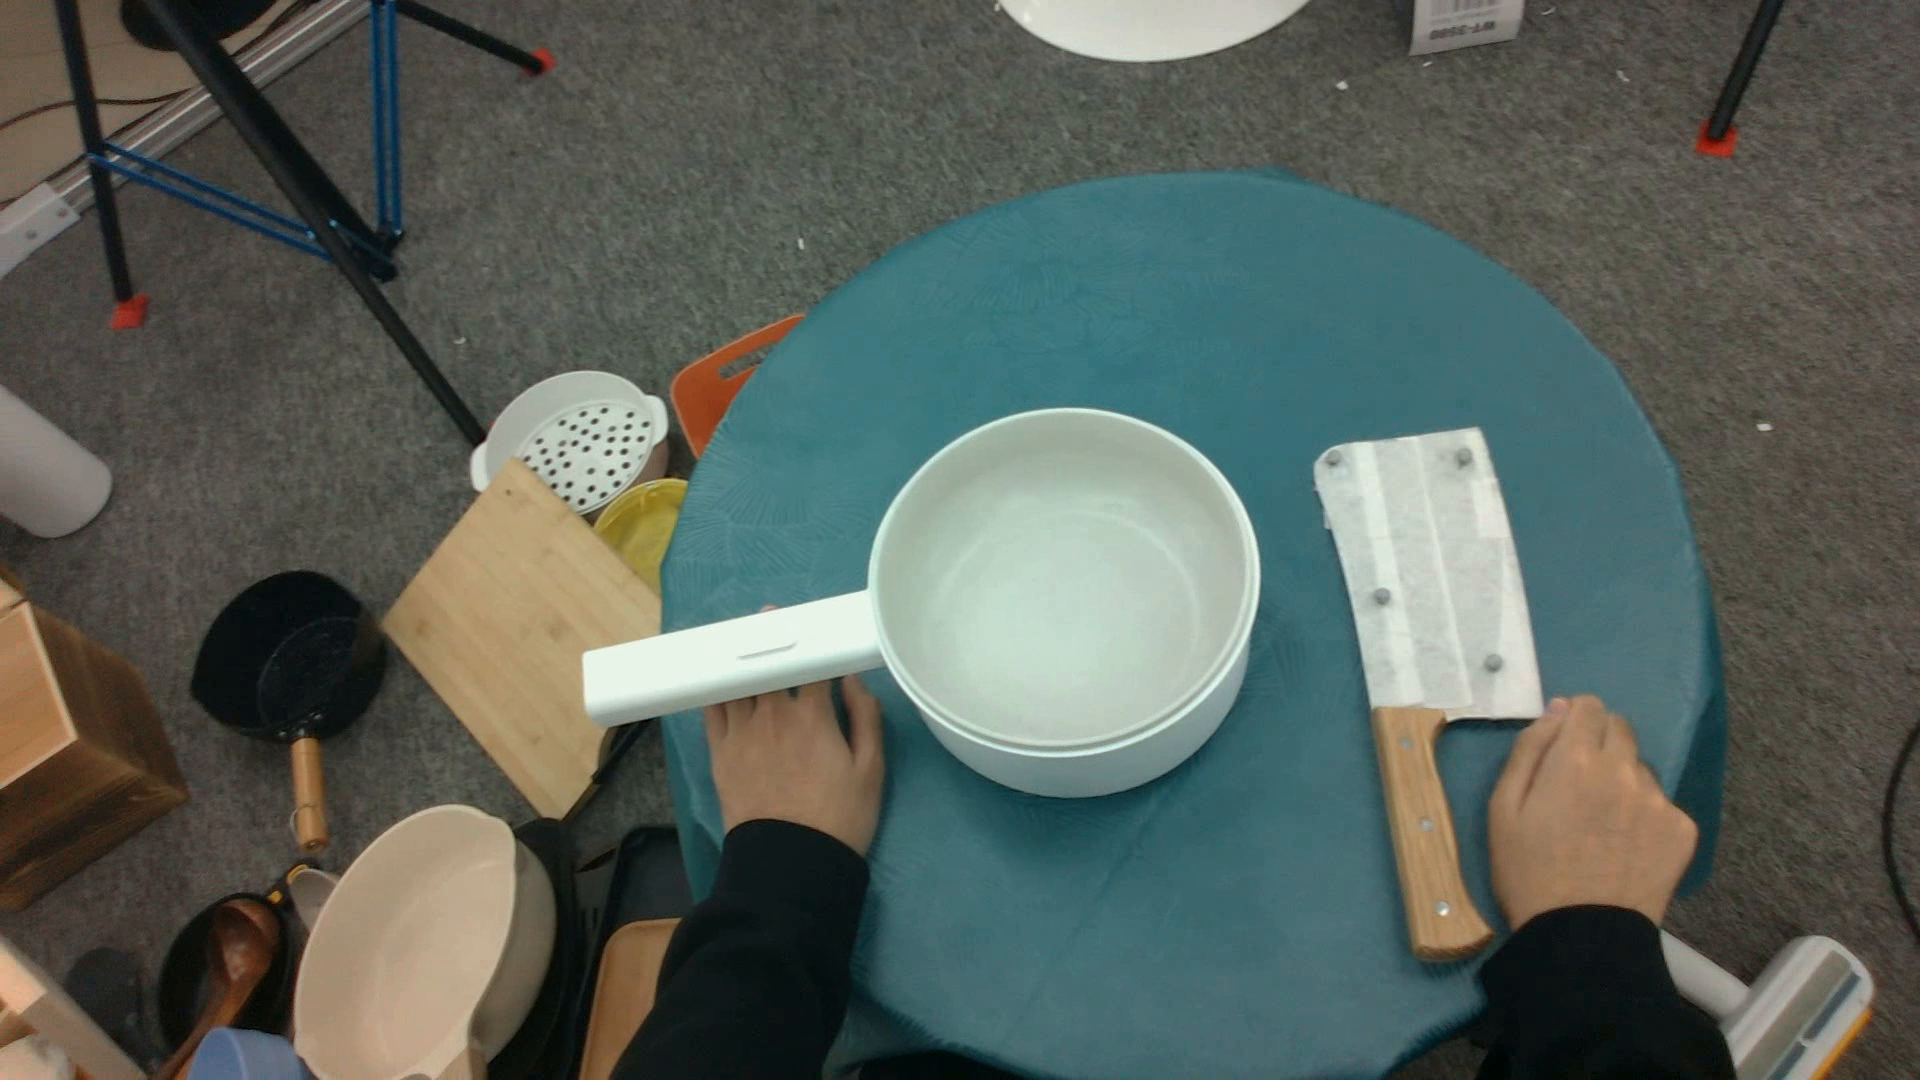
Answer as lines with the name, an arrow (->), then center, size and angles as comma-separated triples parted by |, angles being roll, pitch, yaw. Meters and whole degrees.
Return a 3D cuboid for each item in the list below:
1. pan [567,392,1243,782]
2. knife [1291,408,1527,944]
pan -> -0.025, 0.047, 0.746 | 0.355, 0.102, 0.202 | -14, 61, 2
knife -> 0.242, 0.057, 0.740 | 0.114, 0.021, 0.317 | 0, 58, 9
